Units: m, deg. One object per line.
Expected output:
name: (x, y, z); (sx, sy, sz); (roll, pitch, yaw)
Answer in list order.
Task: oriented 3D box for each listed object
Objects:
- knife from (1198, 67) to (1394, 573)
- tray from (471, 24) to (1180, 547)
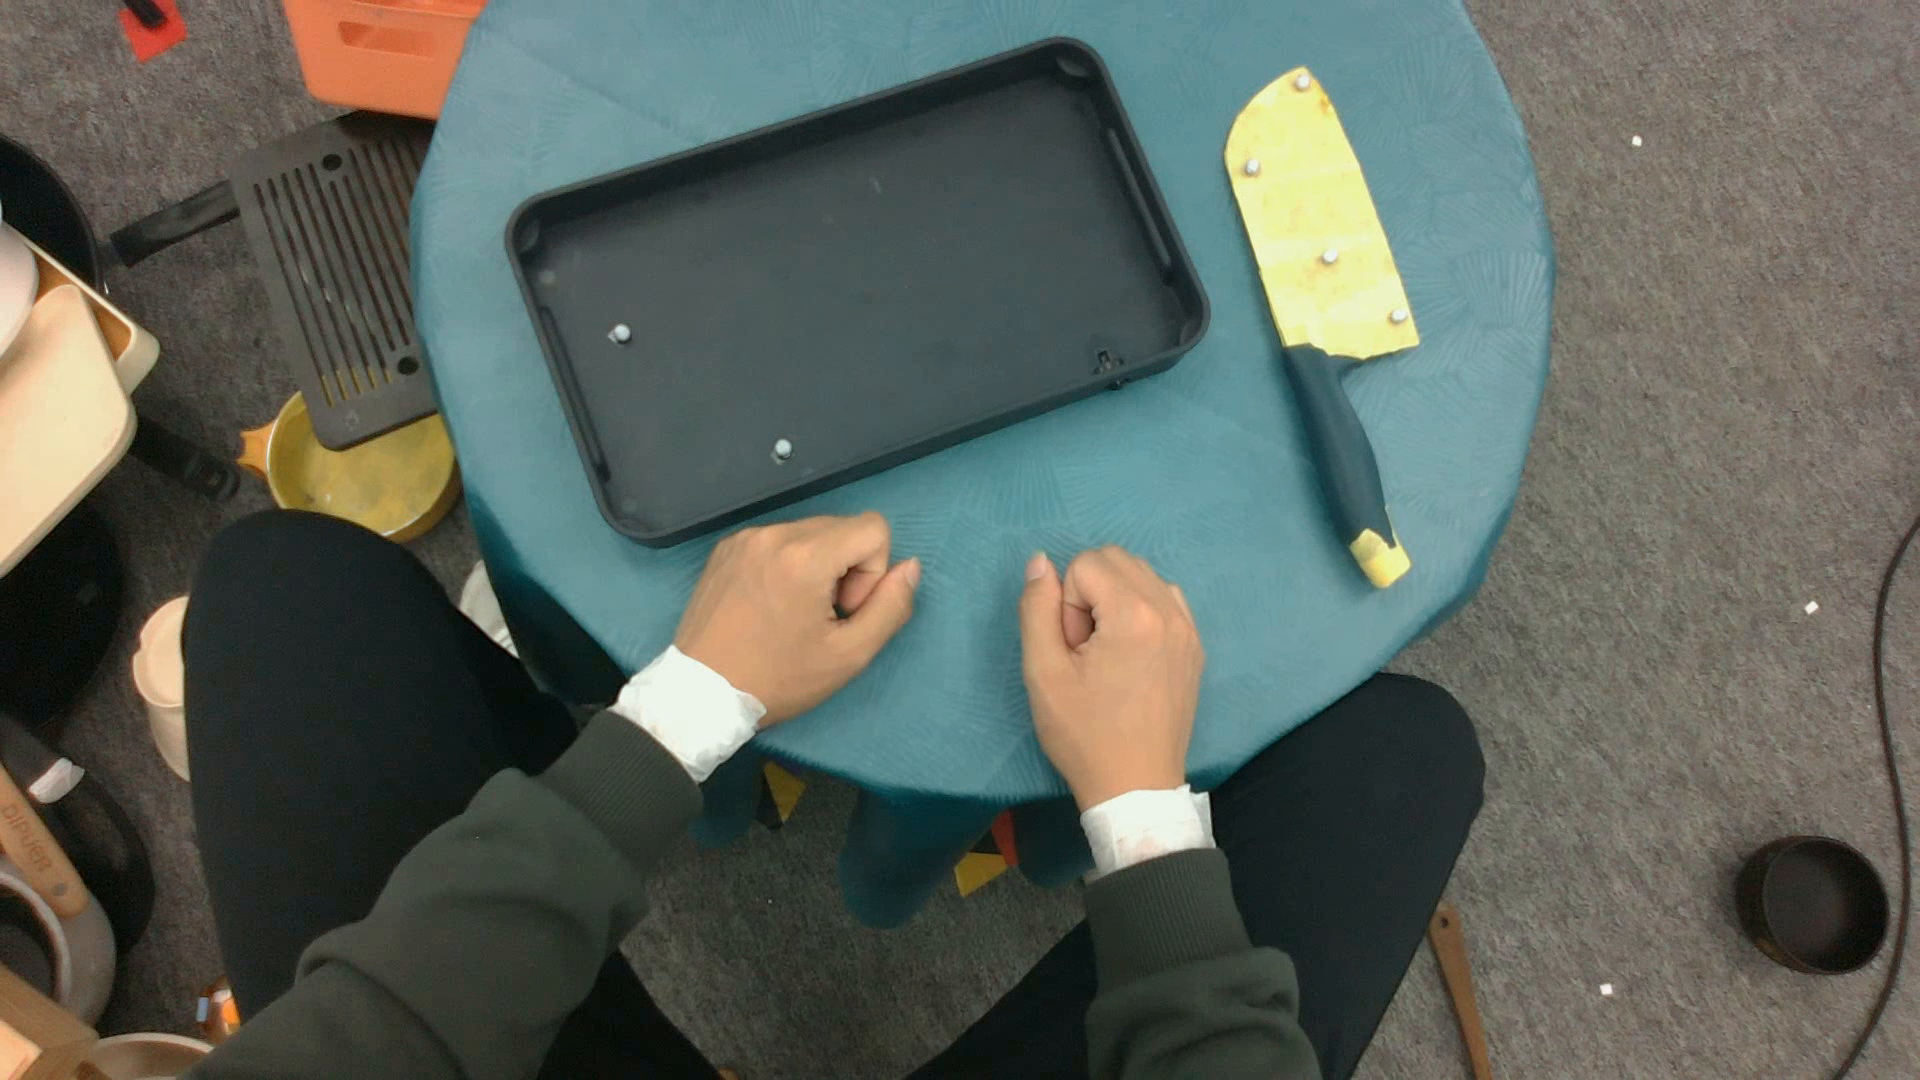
knife: (0.188, -0.124, 0.731); (0.081, 0.027, 0.290); (-10, 77, -7)
tray: (-0.064, -0.132, 0.695); (0.318, 0.037, 0.184); (-22, 81, -11)
